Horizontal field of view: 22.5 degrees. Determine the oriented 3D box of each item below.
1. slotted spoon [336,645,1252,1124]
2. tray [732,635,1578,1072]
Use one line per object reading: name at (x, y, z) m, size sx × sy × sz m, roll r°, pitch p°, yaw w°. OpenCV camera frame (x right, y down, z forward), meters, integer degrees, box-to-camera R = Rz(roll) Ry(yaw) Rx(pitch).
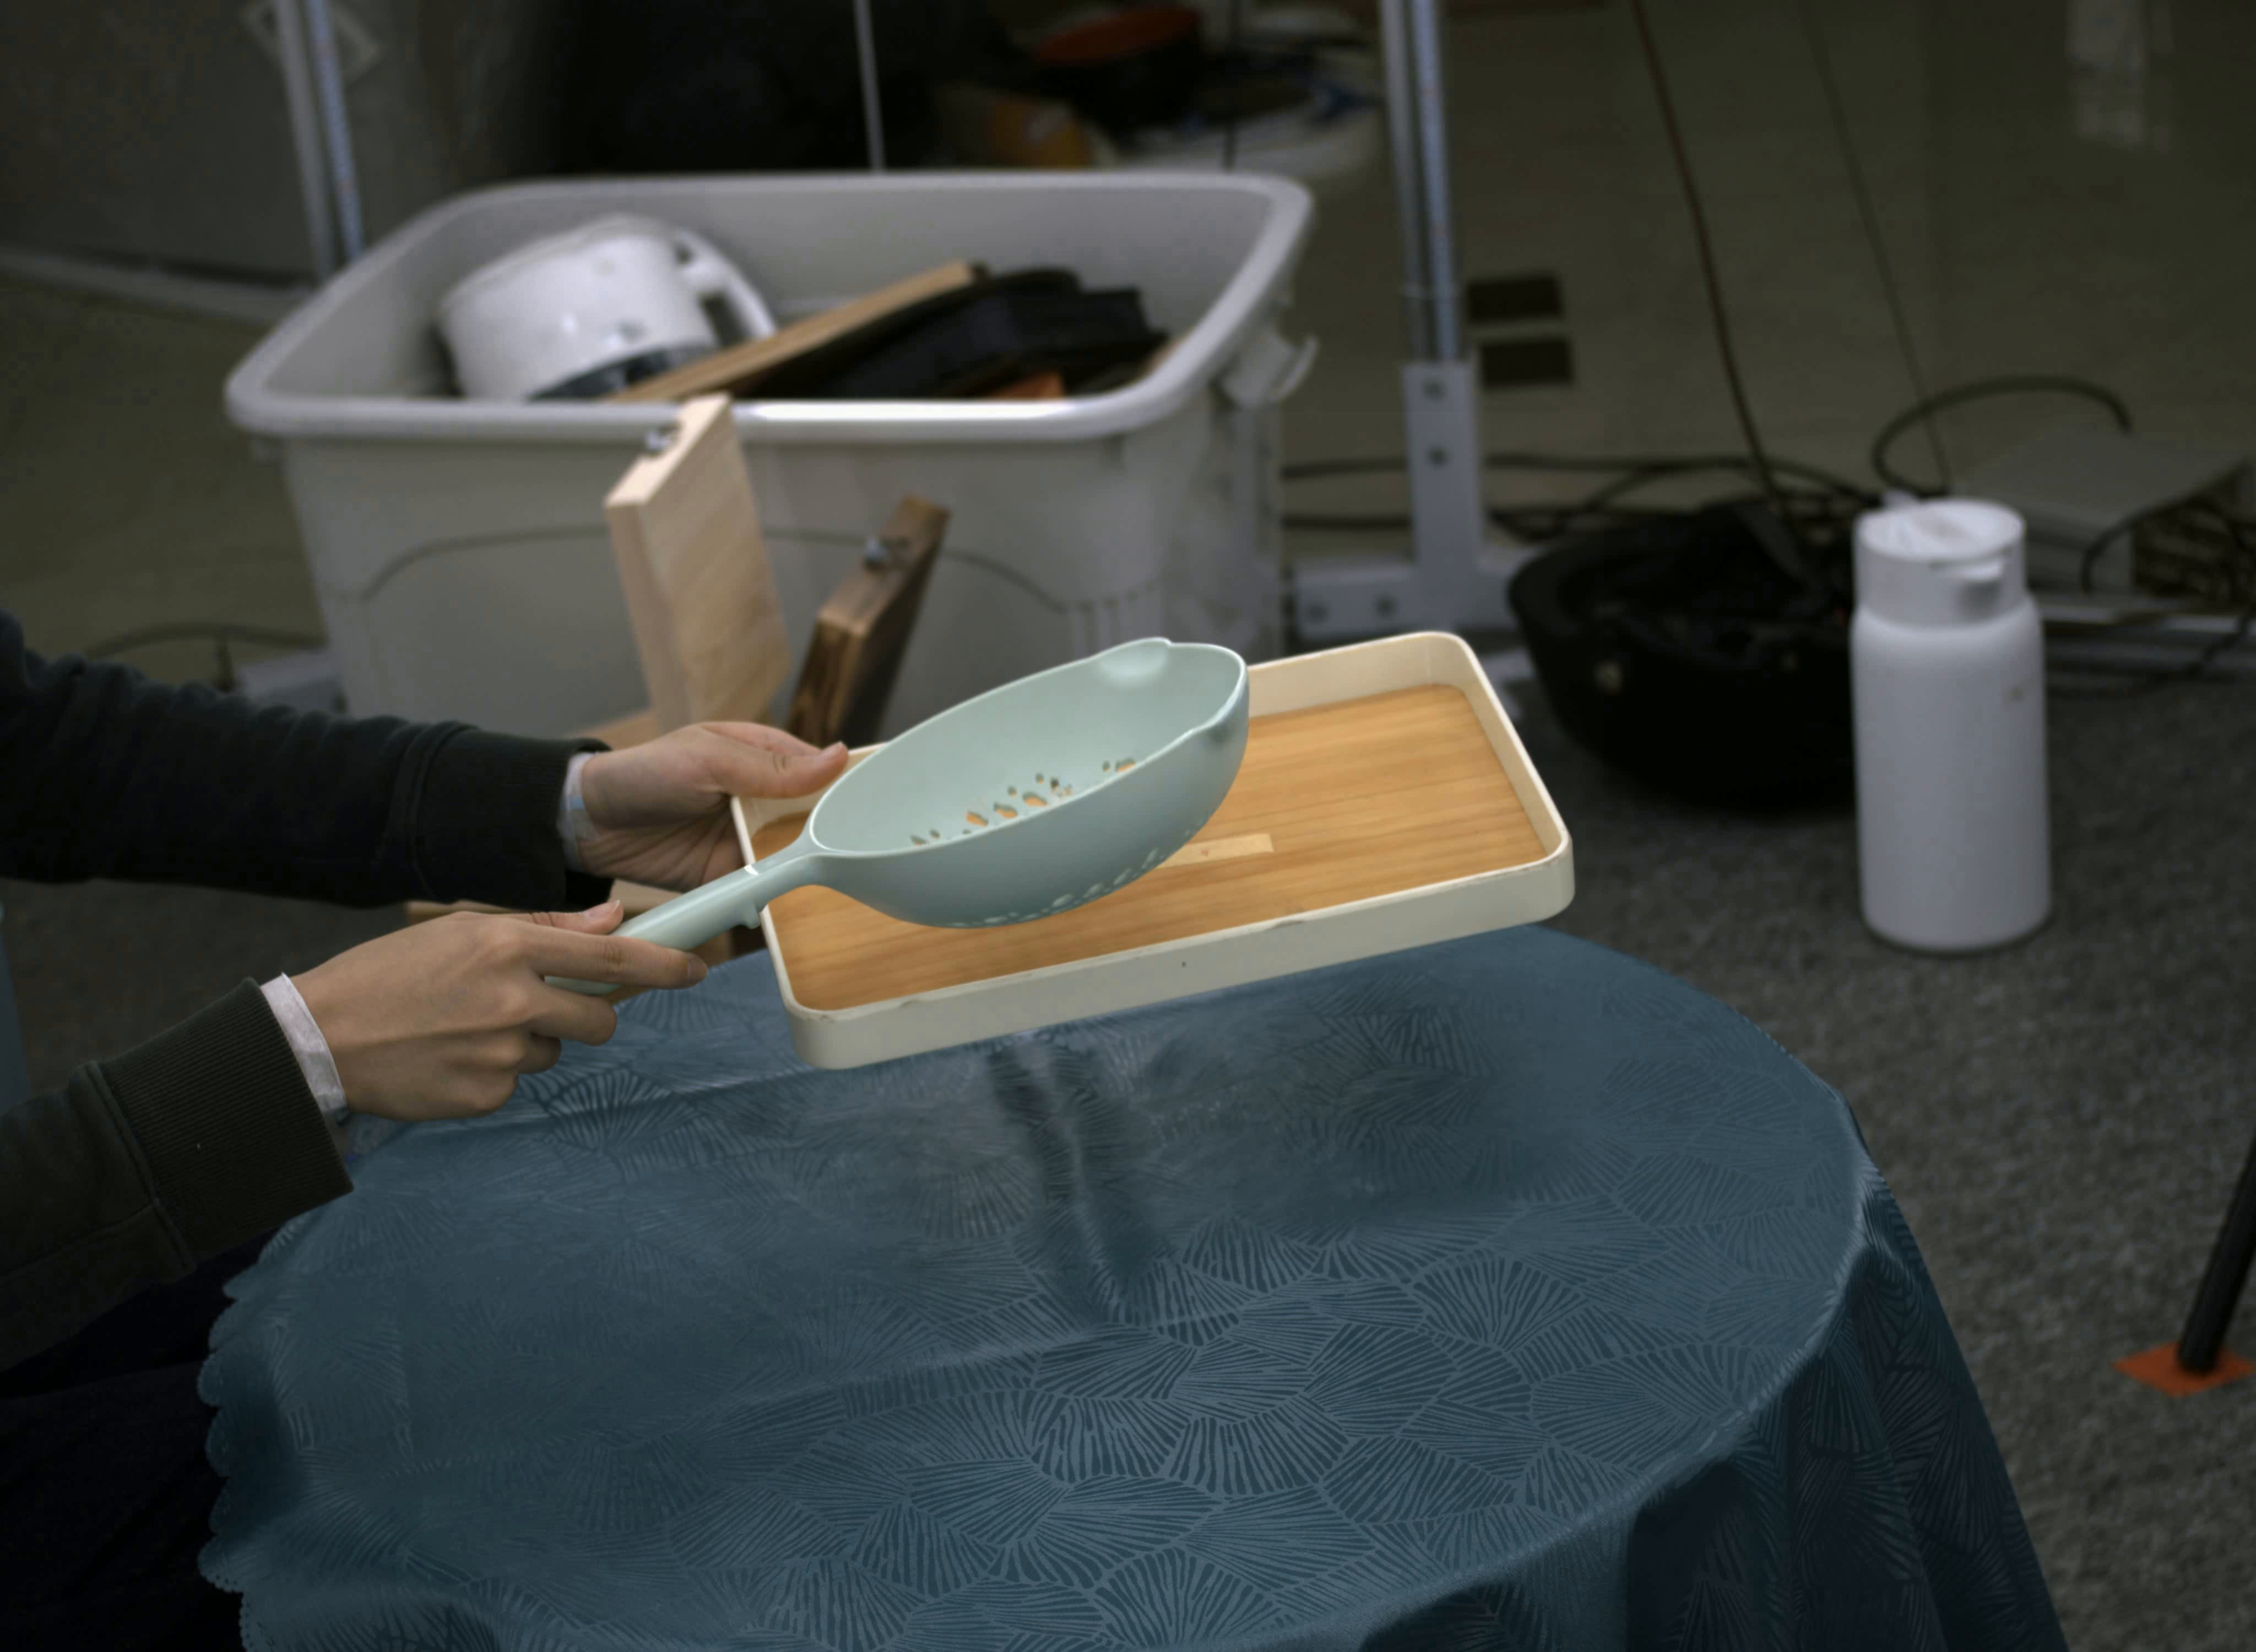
slotted spoon at (-0.120, 0.022, 2.037) m, size 0.357 × 0.076 × 0.168 m, roll -16°, pitch 14°, yaw -12°
tray at (0.007, 0.008, 2.162) m, size 0.299 × 0.028 × 0.188 m, roll -12°, pitch 32°, yaw -6°
